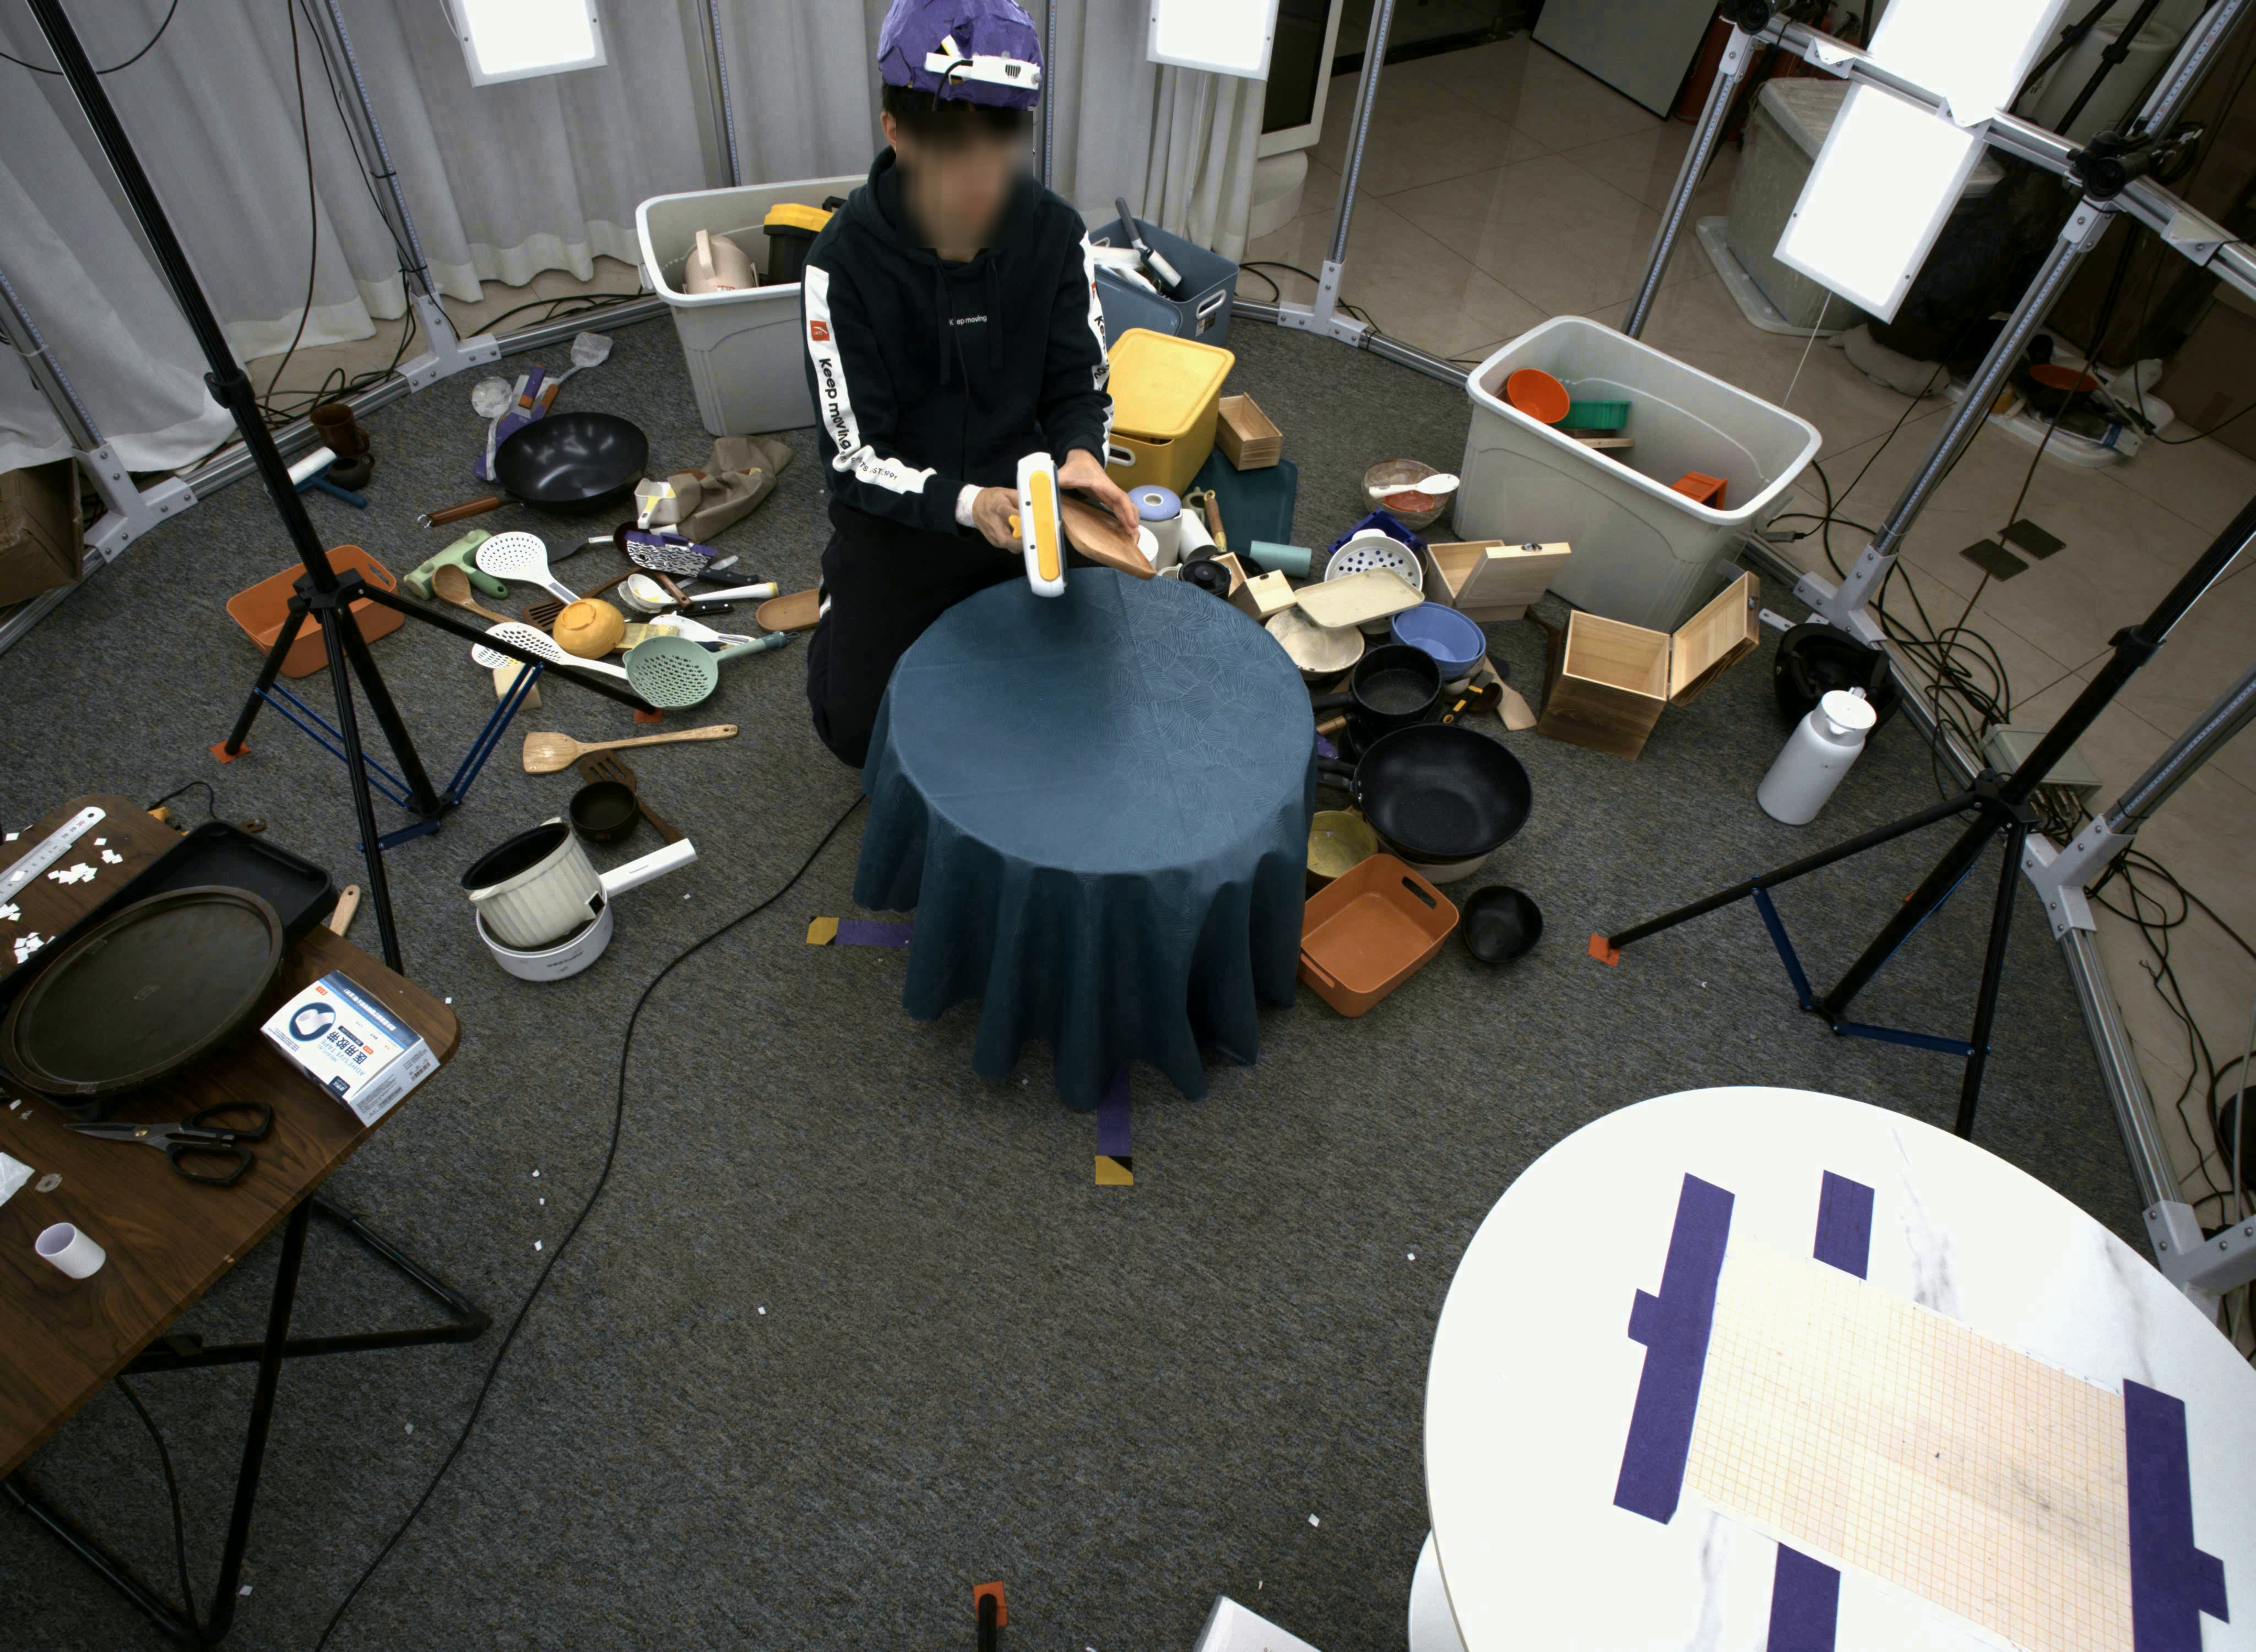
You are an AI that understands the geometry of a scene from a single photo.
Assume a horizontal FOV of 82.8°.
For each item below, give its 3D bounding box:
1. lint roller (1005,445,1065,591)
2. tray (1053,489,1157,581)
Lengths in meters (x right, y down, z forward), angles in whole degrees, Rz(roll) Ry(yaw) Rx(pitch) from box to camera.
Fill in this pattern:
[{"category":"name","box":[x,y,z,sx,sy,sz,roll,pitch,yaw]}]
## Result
[{"category":"lint roller","box":[-0.134,-0.422,1.798,0.074,0.191,0.194,-12,10,-6]},{"category":"tray","box":[-0.042,-0.409,1.803,0.129,0.022,0.256,21,23,-25]}]
